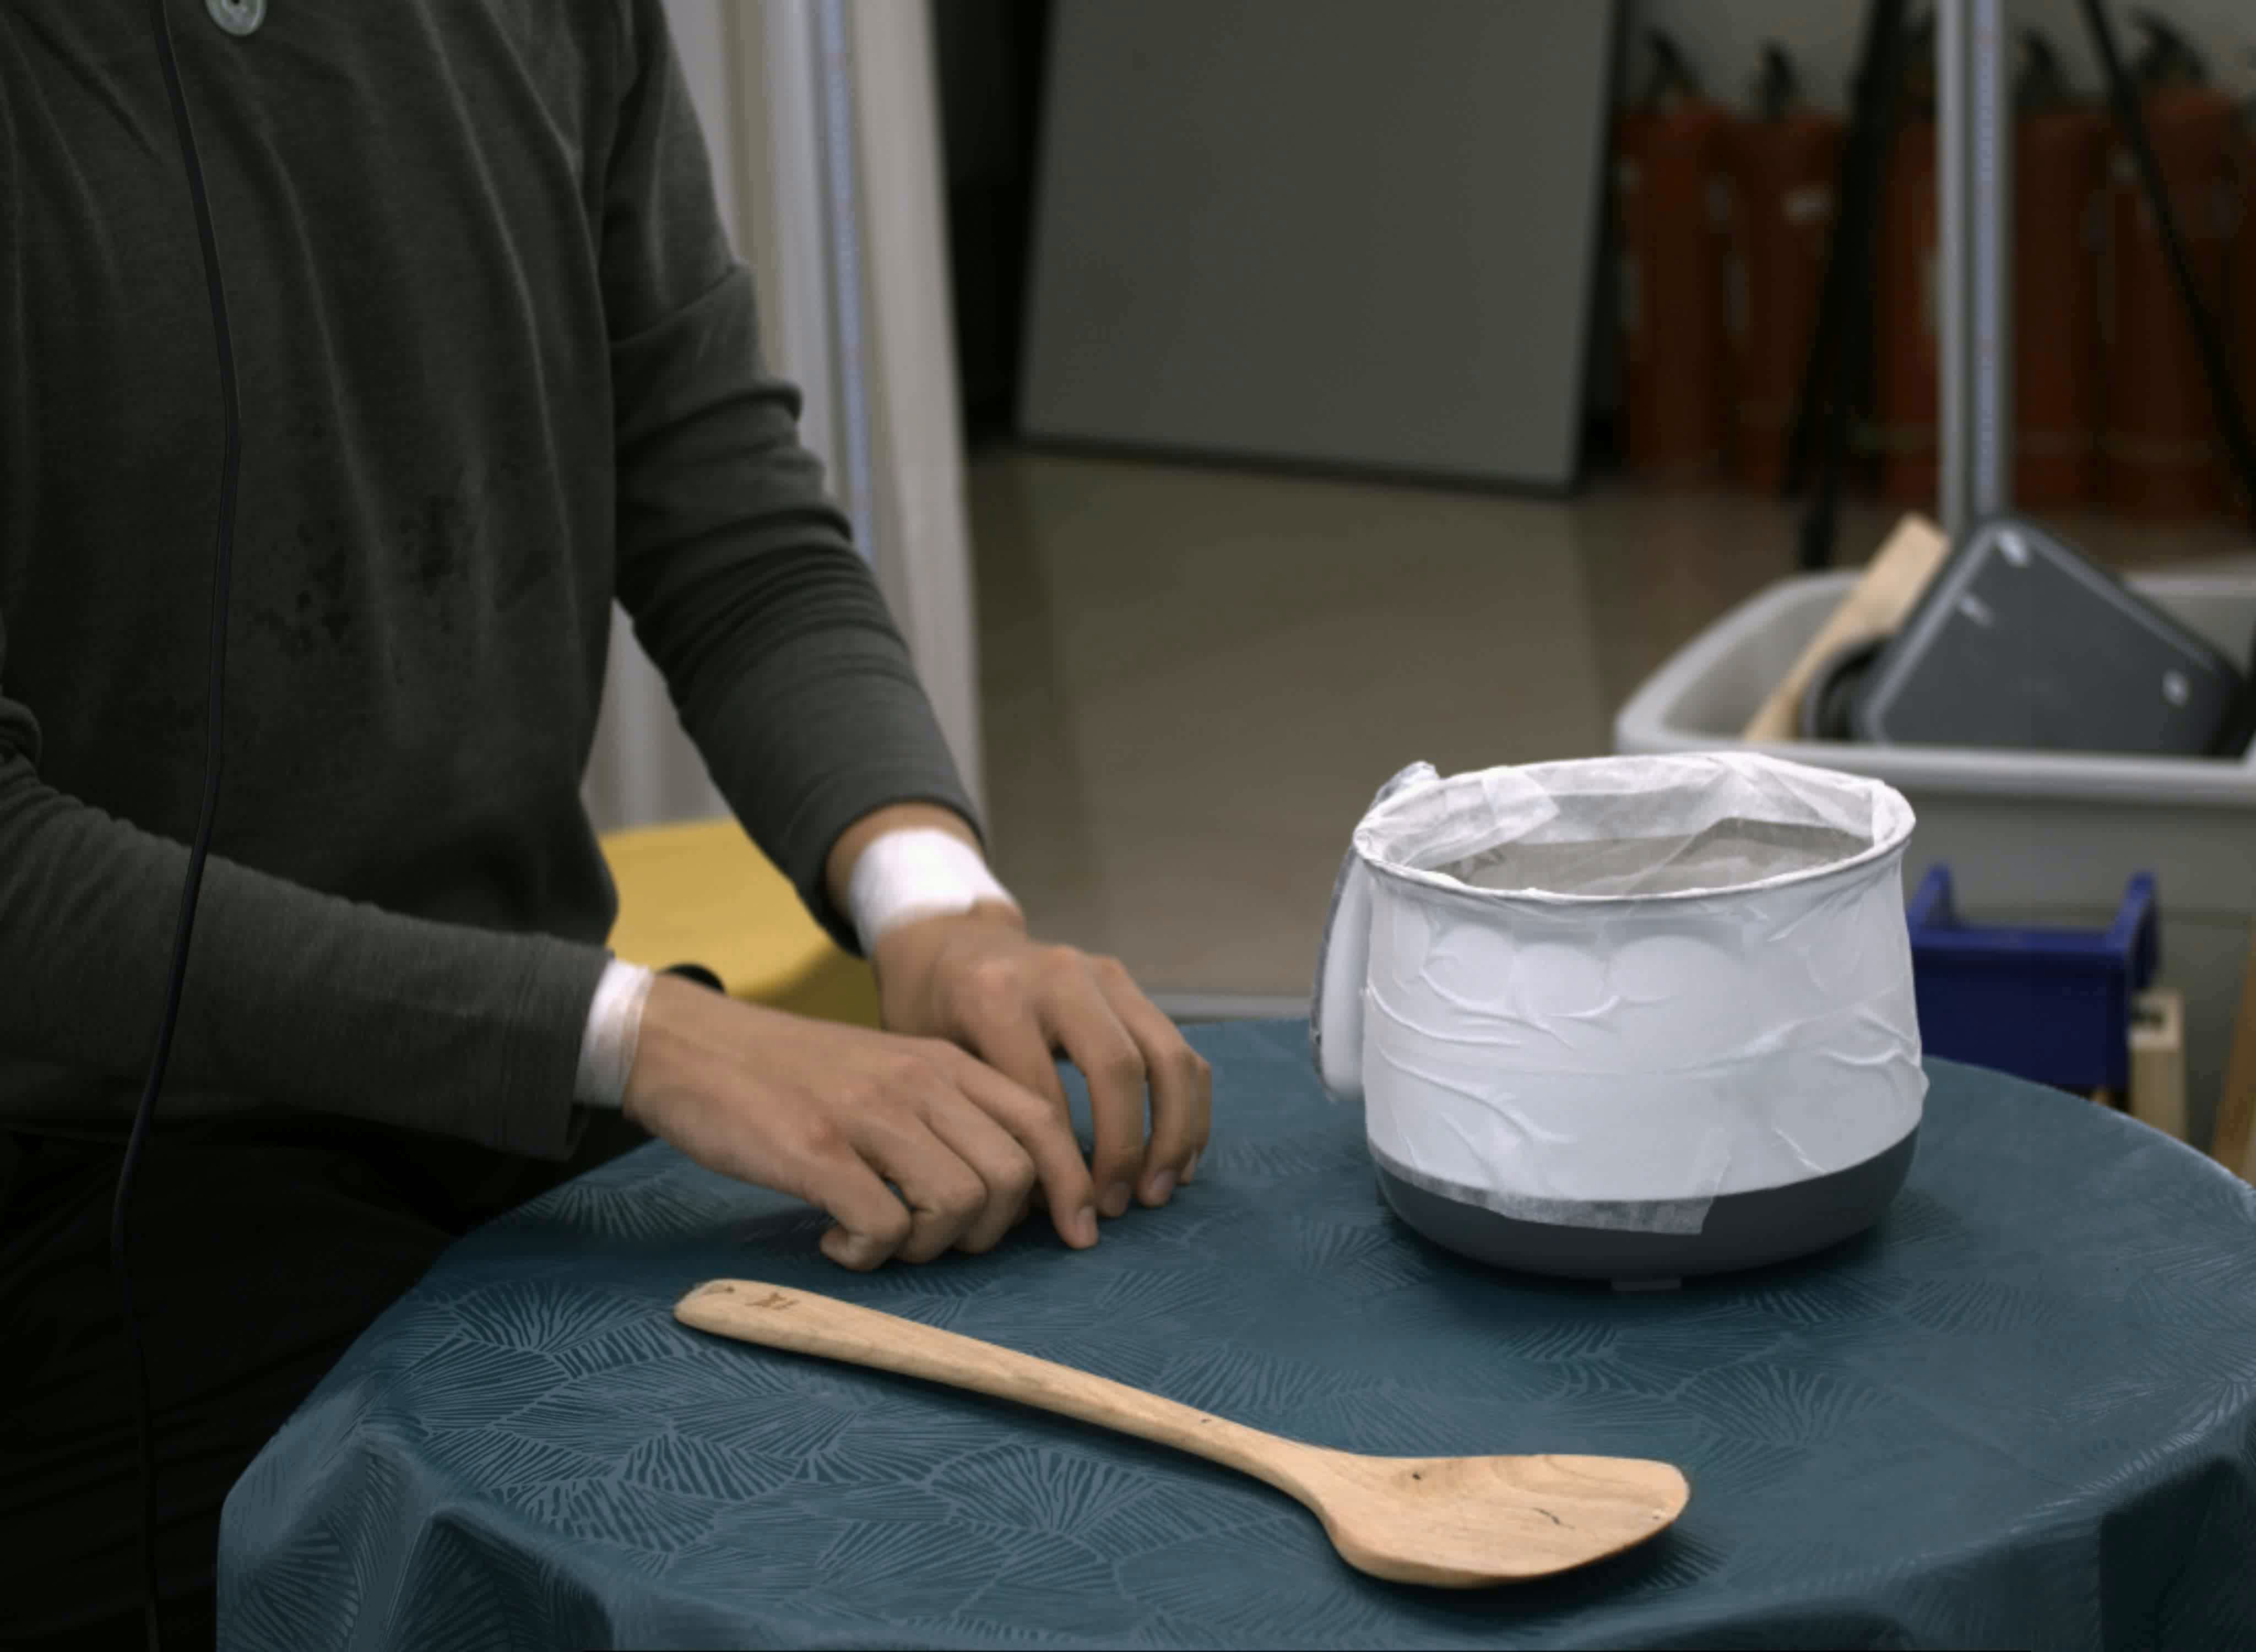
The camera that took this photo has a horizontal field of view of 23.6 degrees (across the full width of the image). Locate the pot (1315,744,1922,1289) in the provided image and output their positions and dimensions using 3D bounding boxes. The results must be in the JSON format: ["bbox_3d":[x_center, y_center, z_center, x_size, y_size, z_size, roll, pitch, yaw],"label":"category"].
[{"bbox_3d":[0.143,0.054,1.713,0.175,0.138,0.236,-14,17,-38],"label":"pot"}]

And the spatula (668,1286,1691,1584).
[{"bbox_3d":[-0.006,0.169,1.543,0.094,0.018,0.394,-14,17,-42],"label":"spatula"}]
